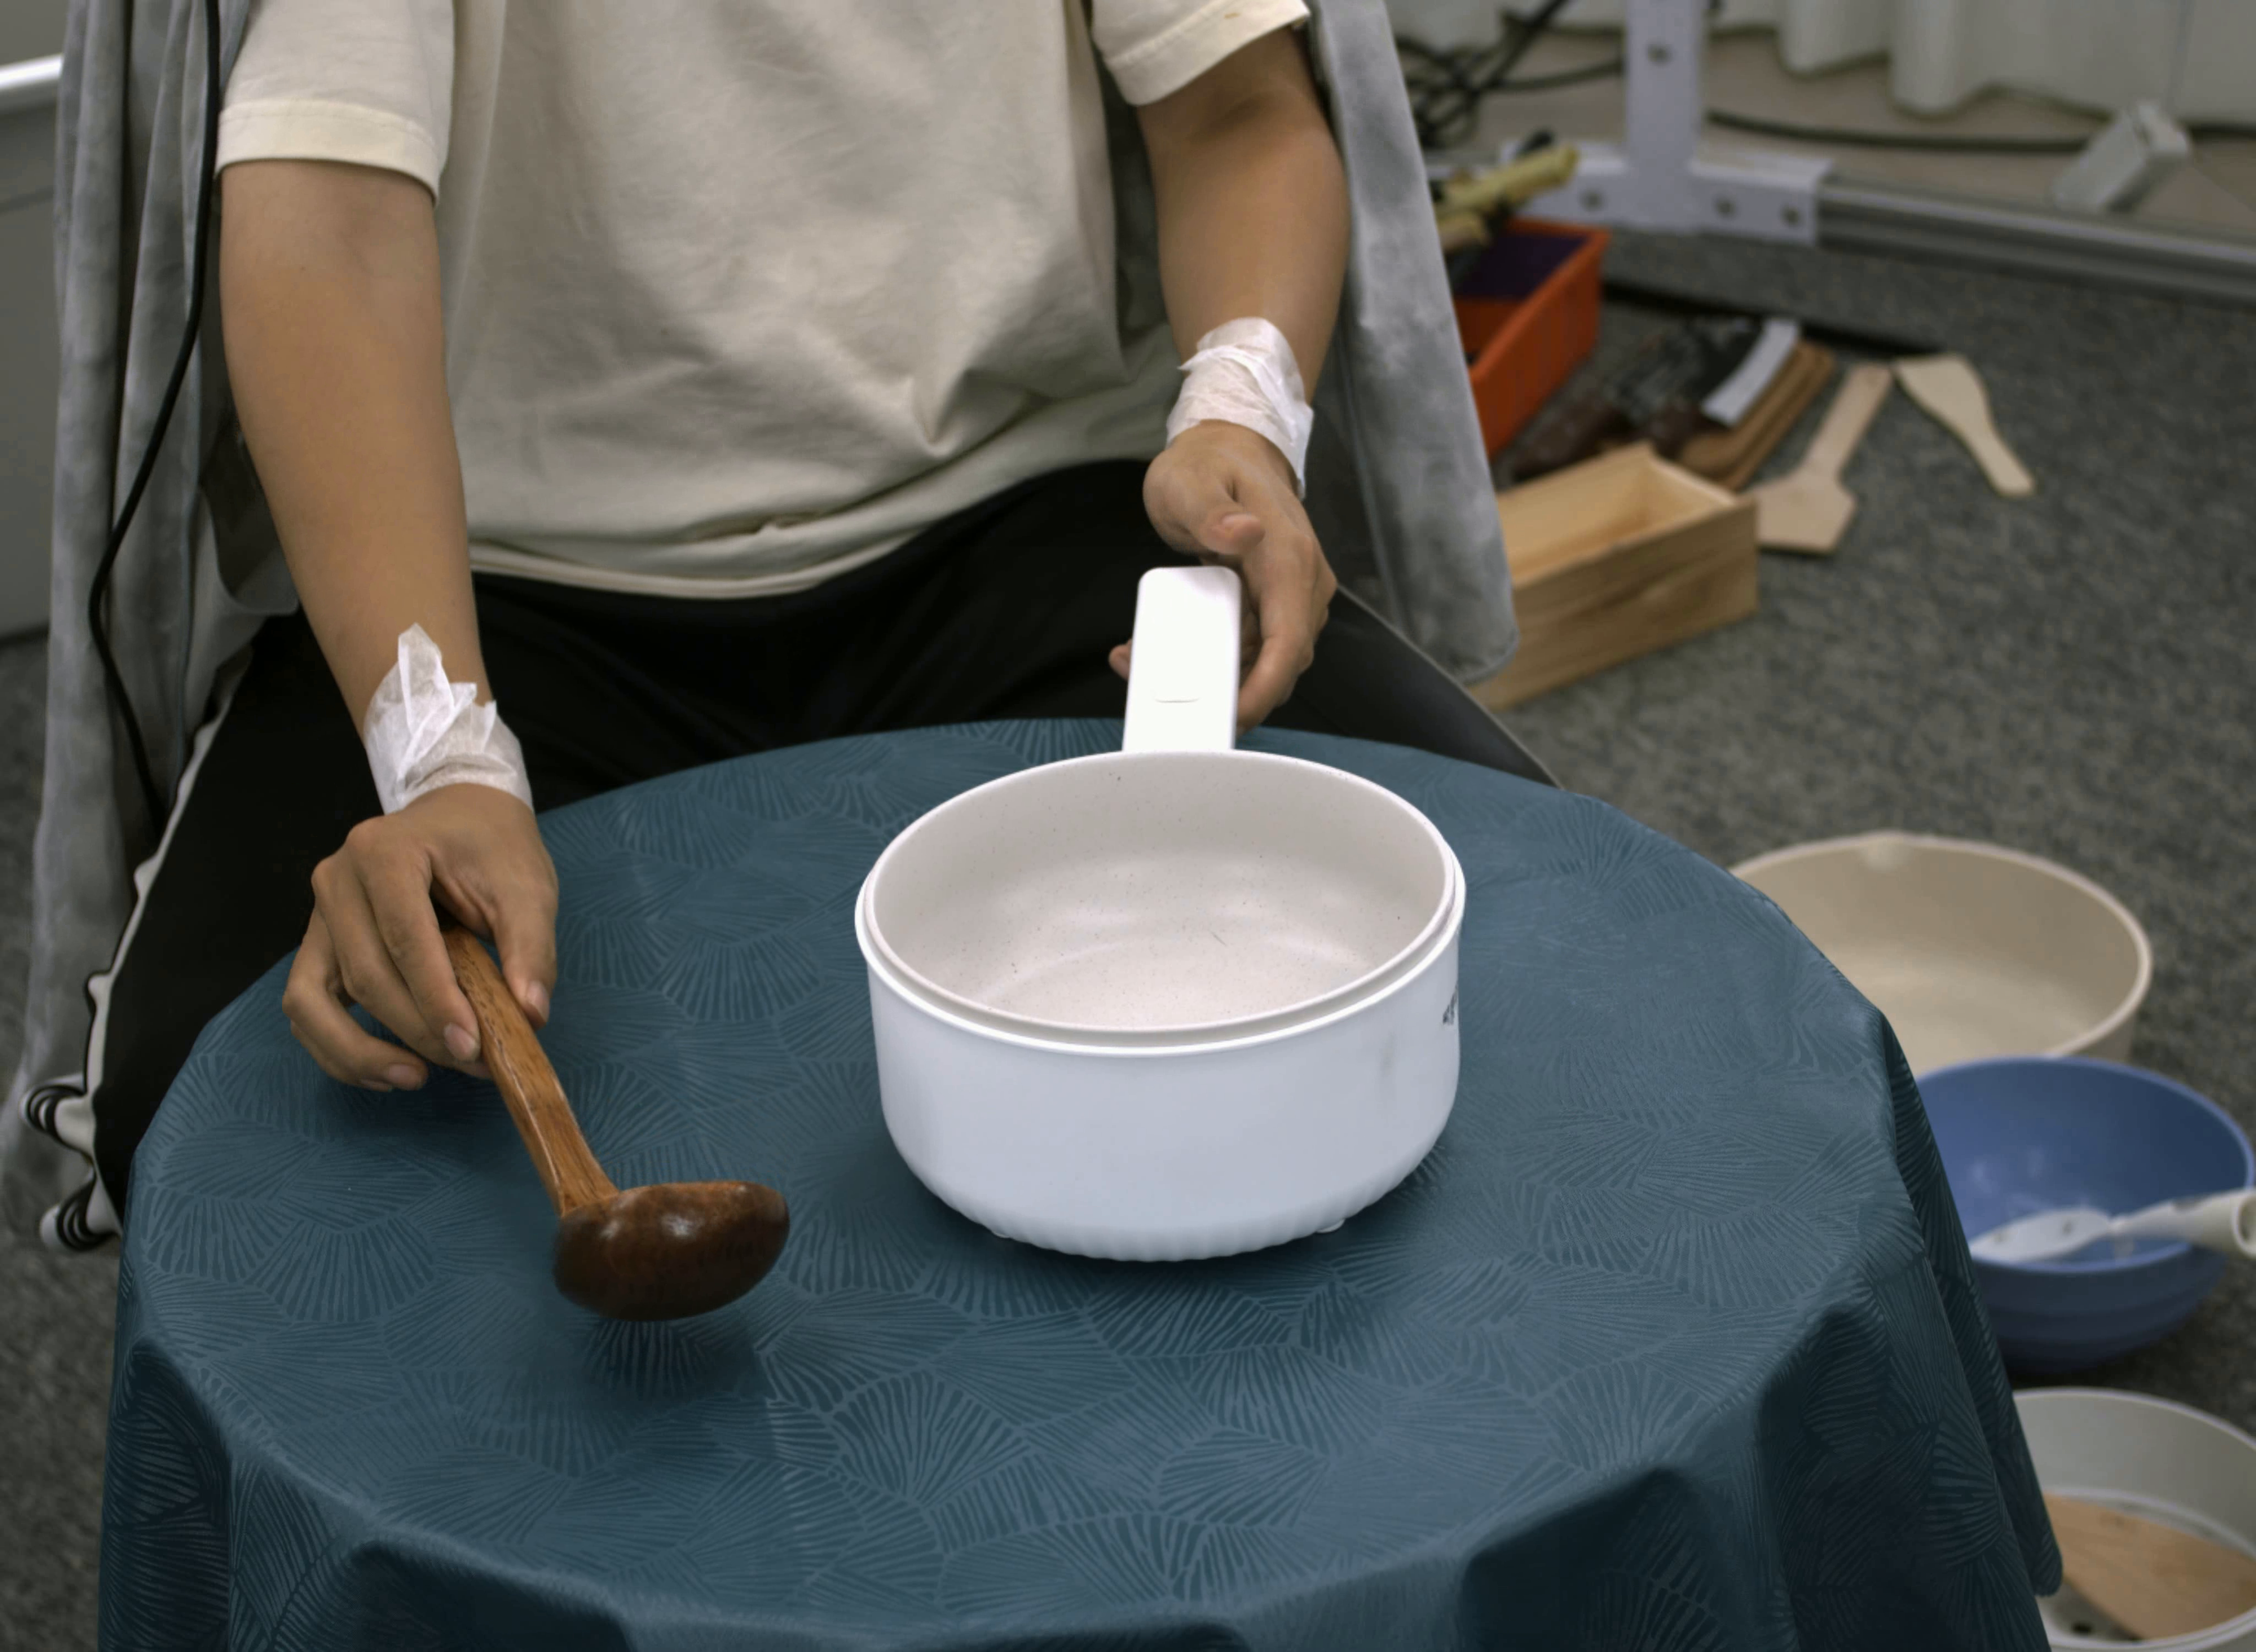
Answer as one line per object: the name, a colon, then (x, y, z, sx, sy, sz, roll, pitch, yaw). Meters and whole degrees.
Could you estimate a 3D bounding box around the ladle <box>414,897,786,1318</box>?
ladle: (-0.186, 0.074, 1.841, 0.082, 0.076, 0.277, 7, 29, -27)

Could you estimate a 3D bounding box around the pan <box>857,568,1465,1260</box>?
pan: (0.018, 0.027, 1.935, 0.200, 0.101, 0.360, -1, 26, 5)
